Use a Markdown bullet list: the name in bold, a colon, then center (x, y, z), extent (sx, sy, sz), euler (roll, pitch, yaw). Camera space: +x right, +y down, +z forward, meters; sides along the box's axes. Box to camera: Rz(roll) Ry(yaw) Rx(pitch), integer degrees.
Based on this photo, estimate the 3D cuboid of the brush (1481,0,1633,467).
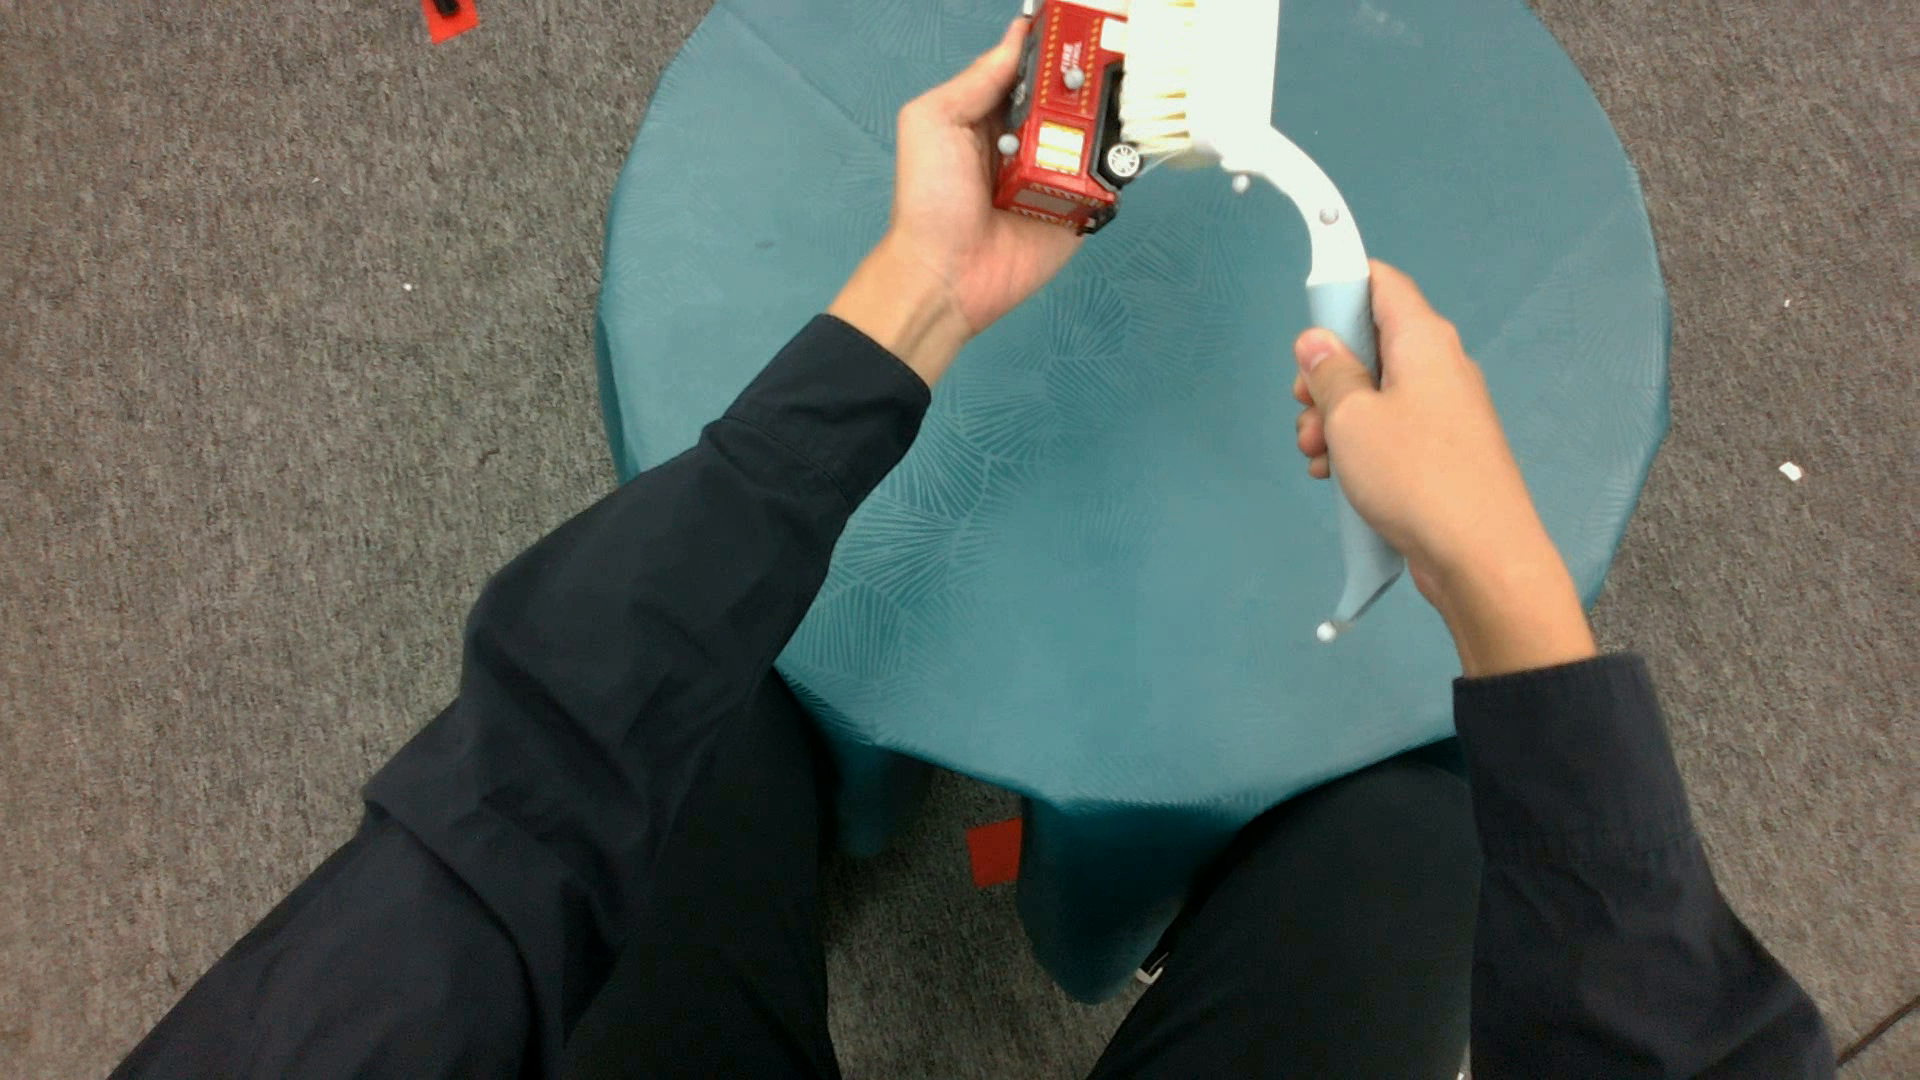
- **brush**: center (0.200, -0.192, 0.519), extent (0.083, 0.084, 0.325), euler (3, 100, -20)
